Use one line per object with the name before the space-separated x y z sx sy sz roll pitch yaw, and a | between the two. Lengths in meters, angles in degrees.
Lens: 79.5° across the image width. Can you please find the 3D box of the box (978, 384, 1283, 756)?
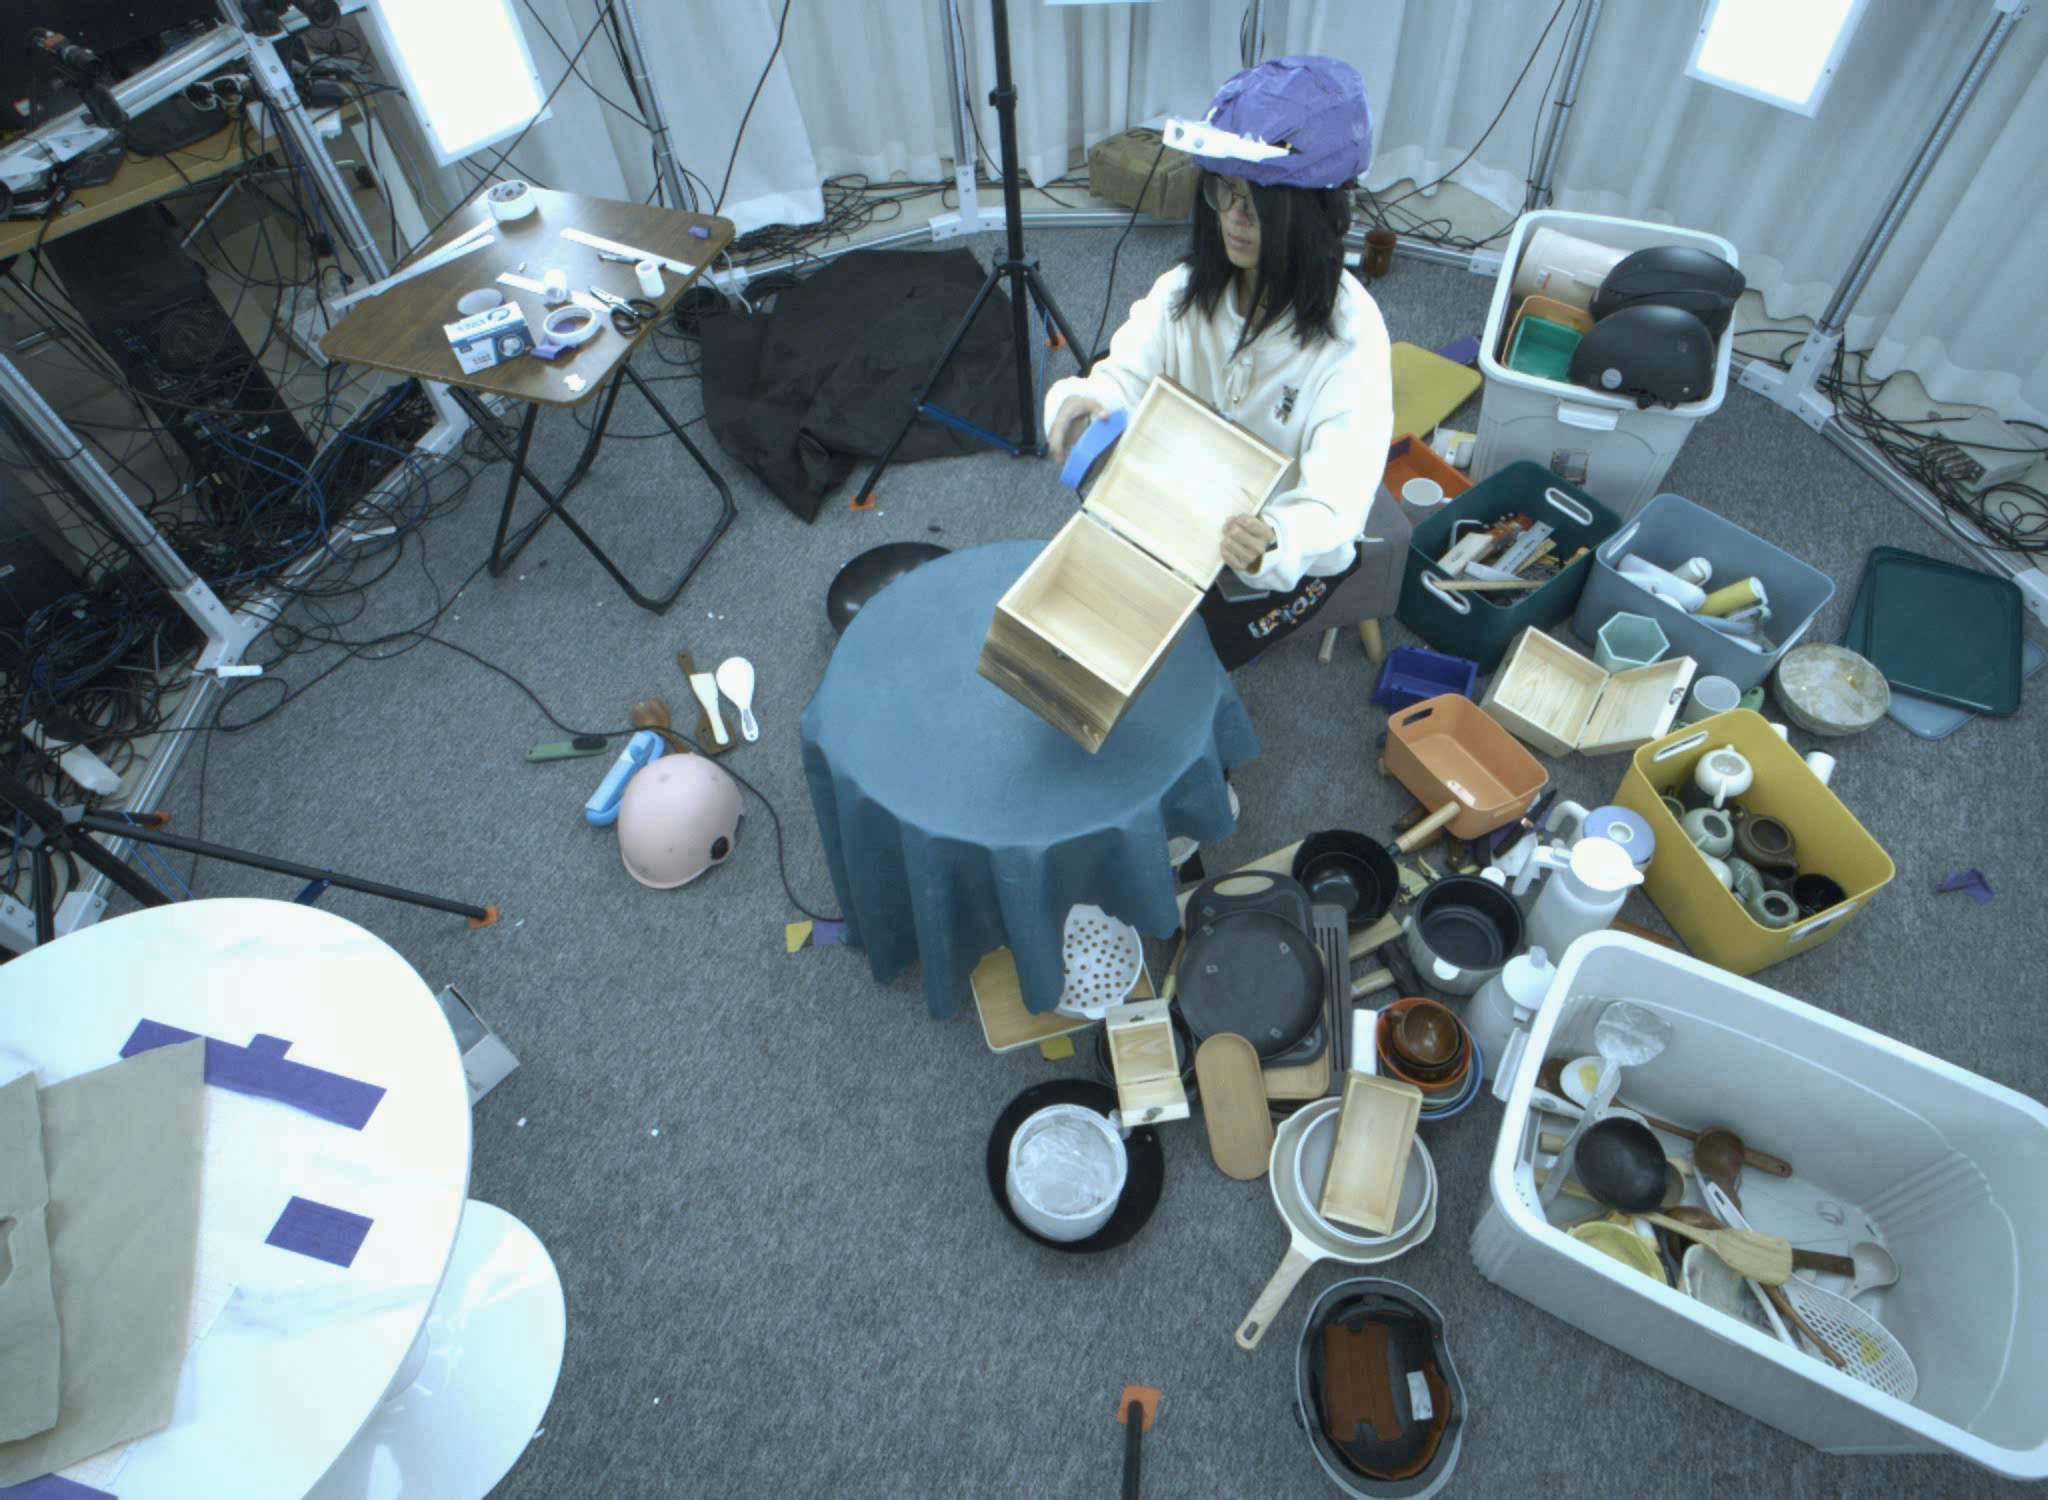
box | 0.129 -0.233 1.583 0.208 0.375 0.323 35 61 5

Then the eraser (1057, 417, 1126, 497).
eraser | 0.090 -0.389 1.591 0.047 0.053 0.163 36 44 1
